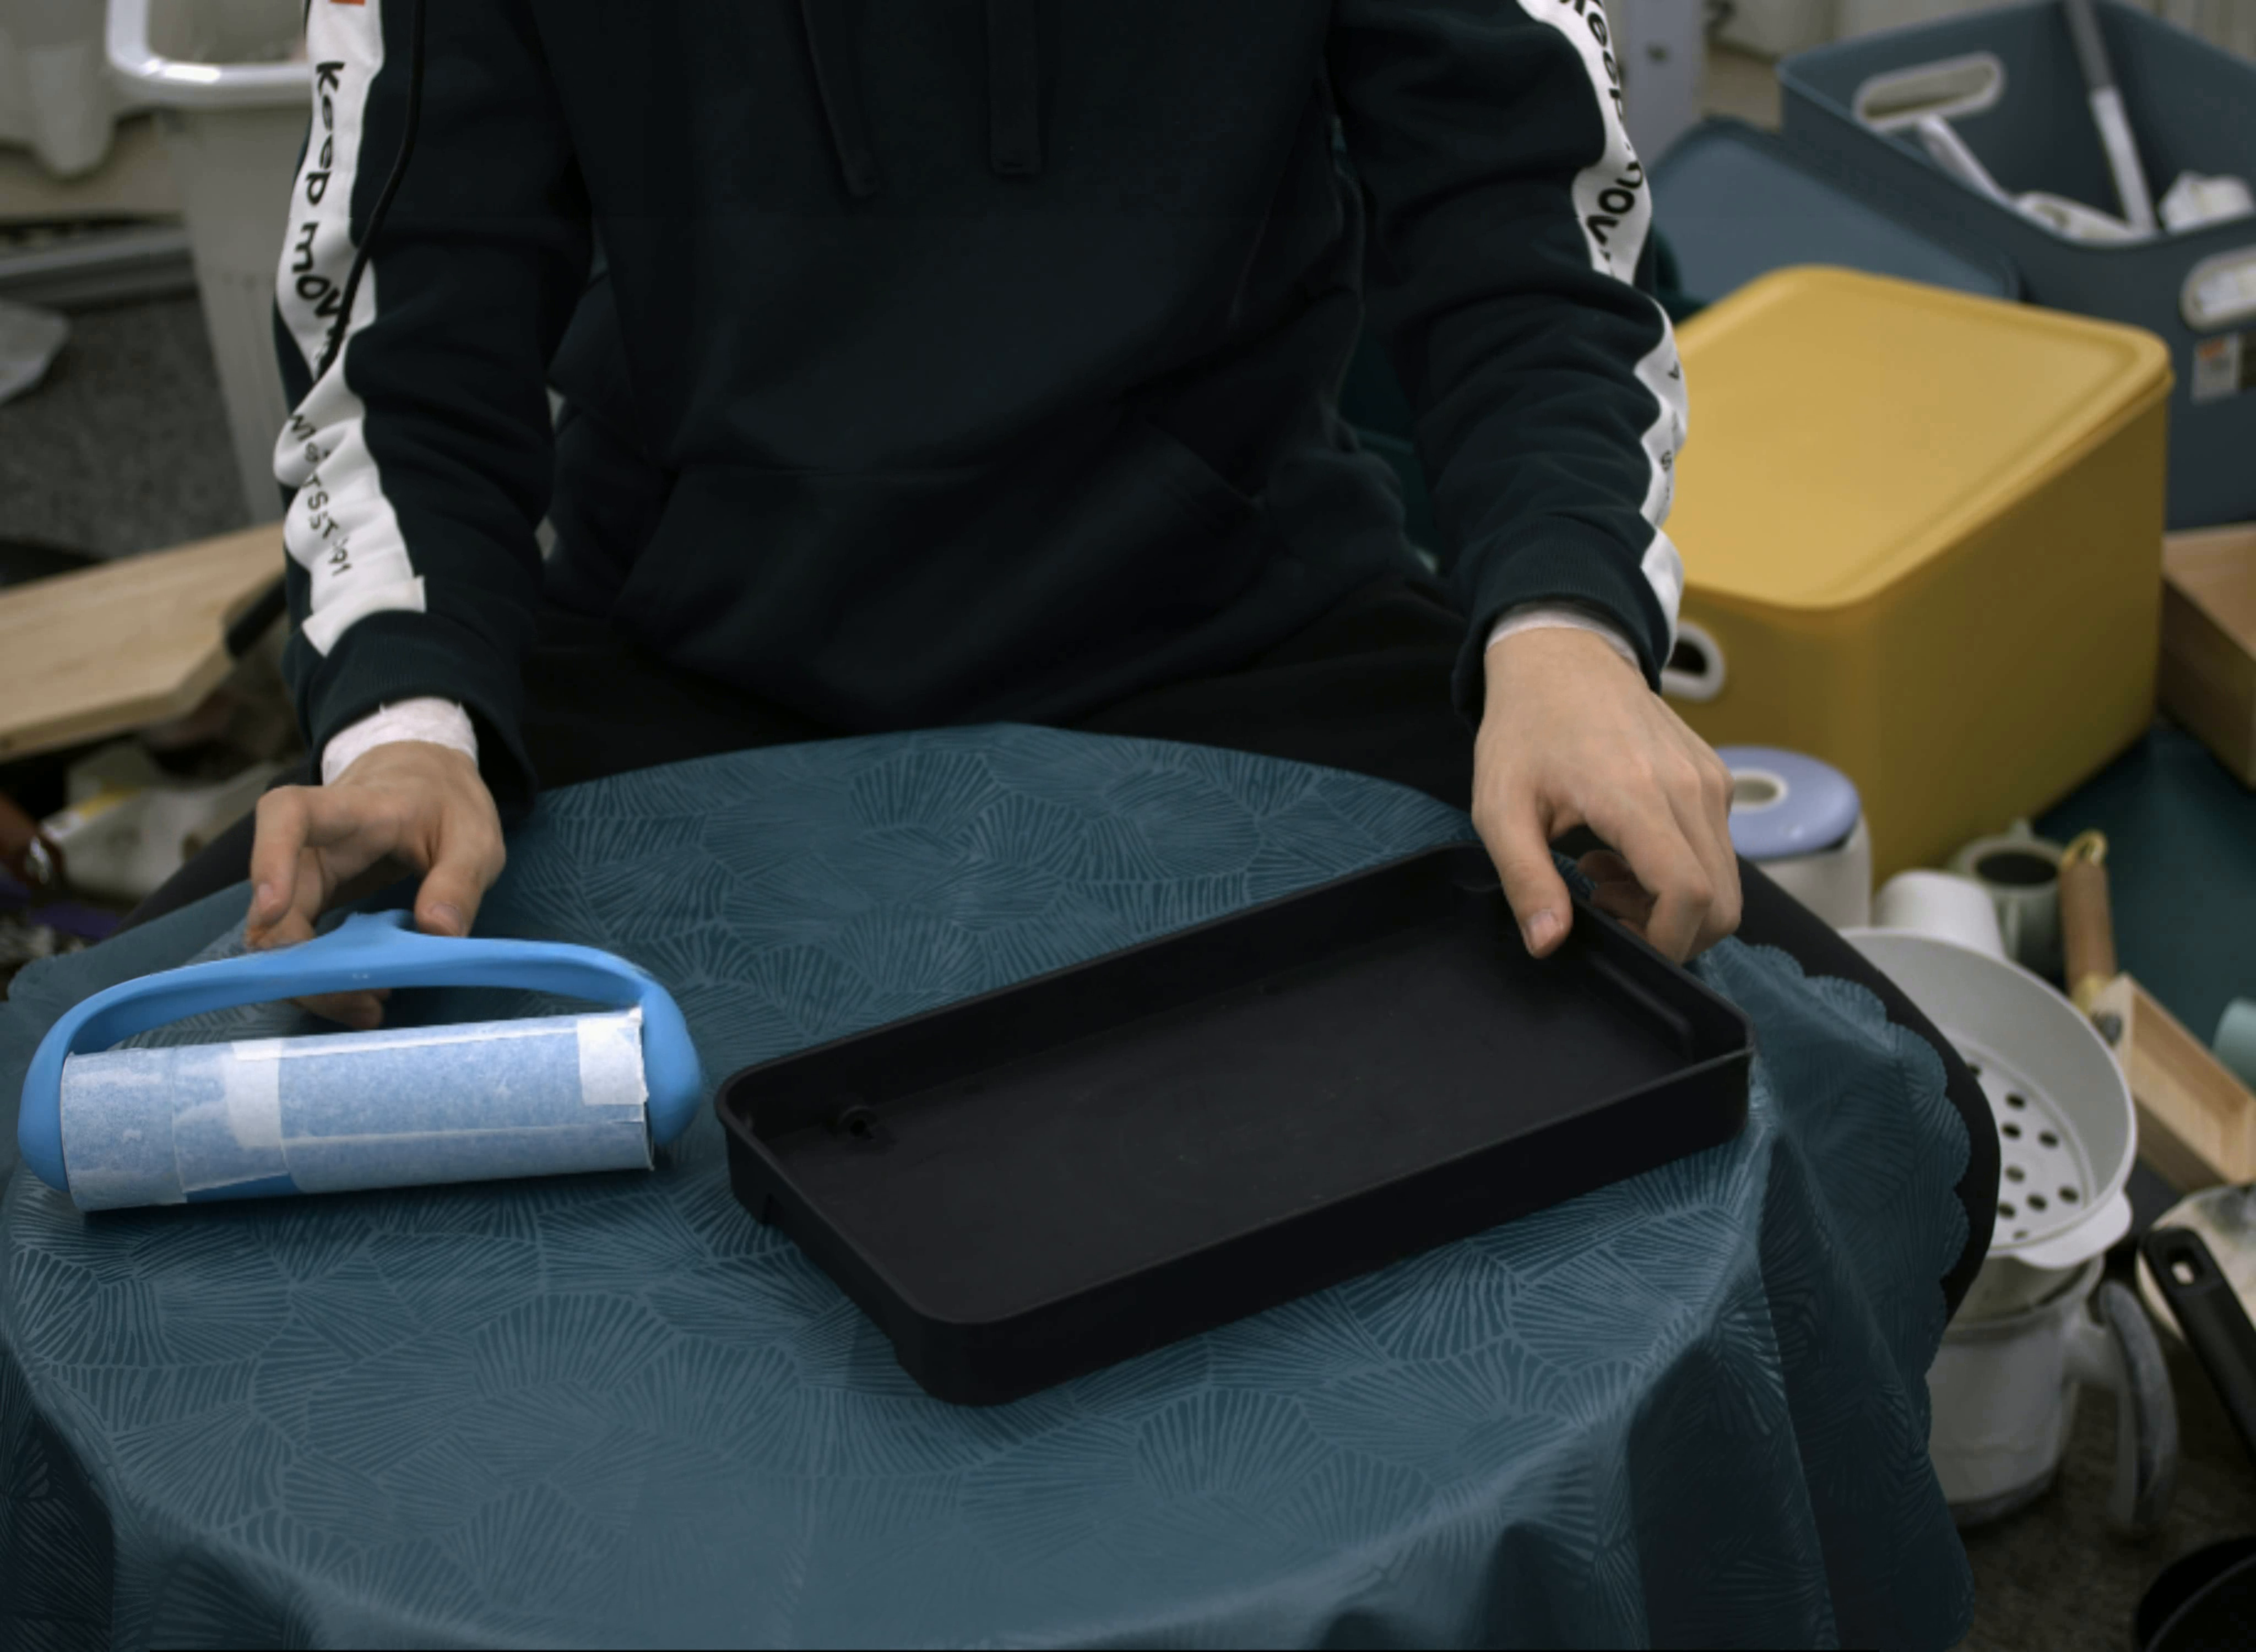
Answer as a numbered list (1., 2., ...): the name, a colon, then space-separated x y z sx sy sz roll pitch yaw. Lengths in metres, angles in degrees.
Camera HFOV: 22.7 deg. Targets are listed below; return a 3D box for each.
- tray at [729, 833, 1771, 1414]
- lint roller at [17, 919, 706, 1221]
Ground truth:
1. tray: 0.042 0.093 1.874 0.320 0.036 0.185 -19 31 -26
2. lint roller: -0.262 0.068 1.928 0.228 0.067 0.183 -7 29 -4
